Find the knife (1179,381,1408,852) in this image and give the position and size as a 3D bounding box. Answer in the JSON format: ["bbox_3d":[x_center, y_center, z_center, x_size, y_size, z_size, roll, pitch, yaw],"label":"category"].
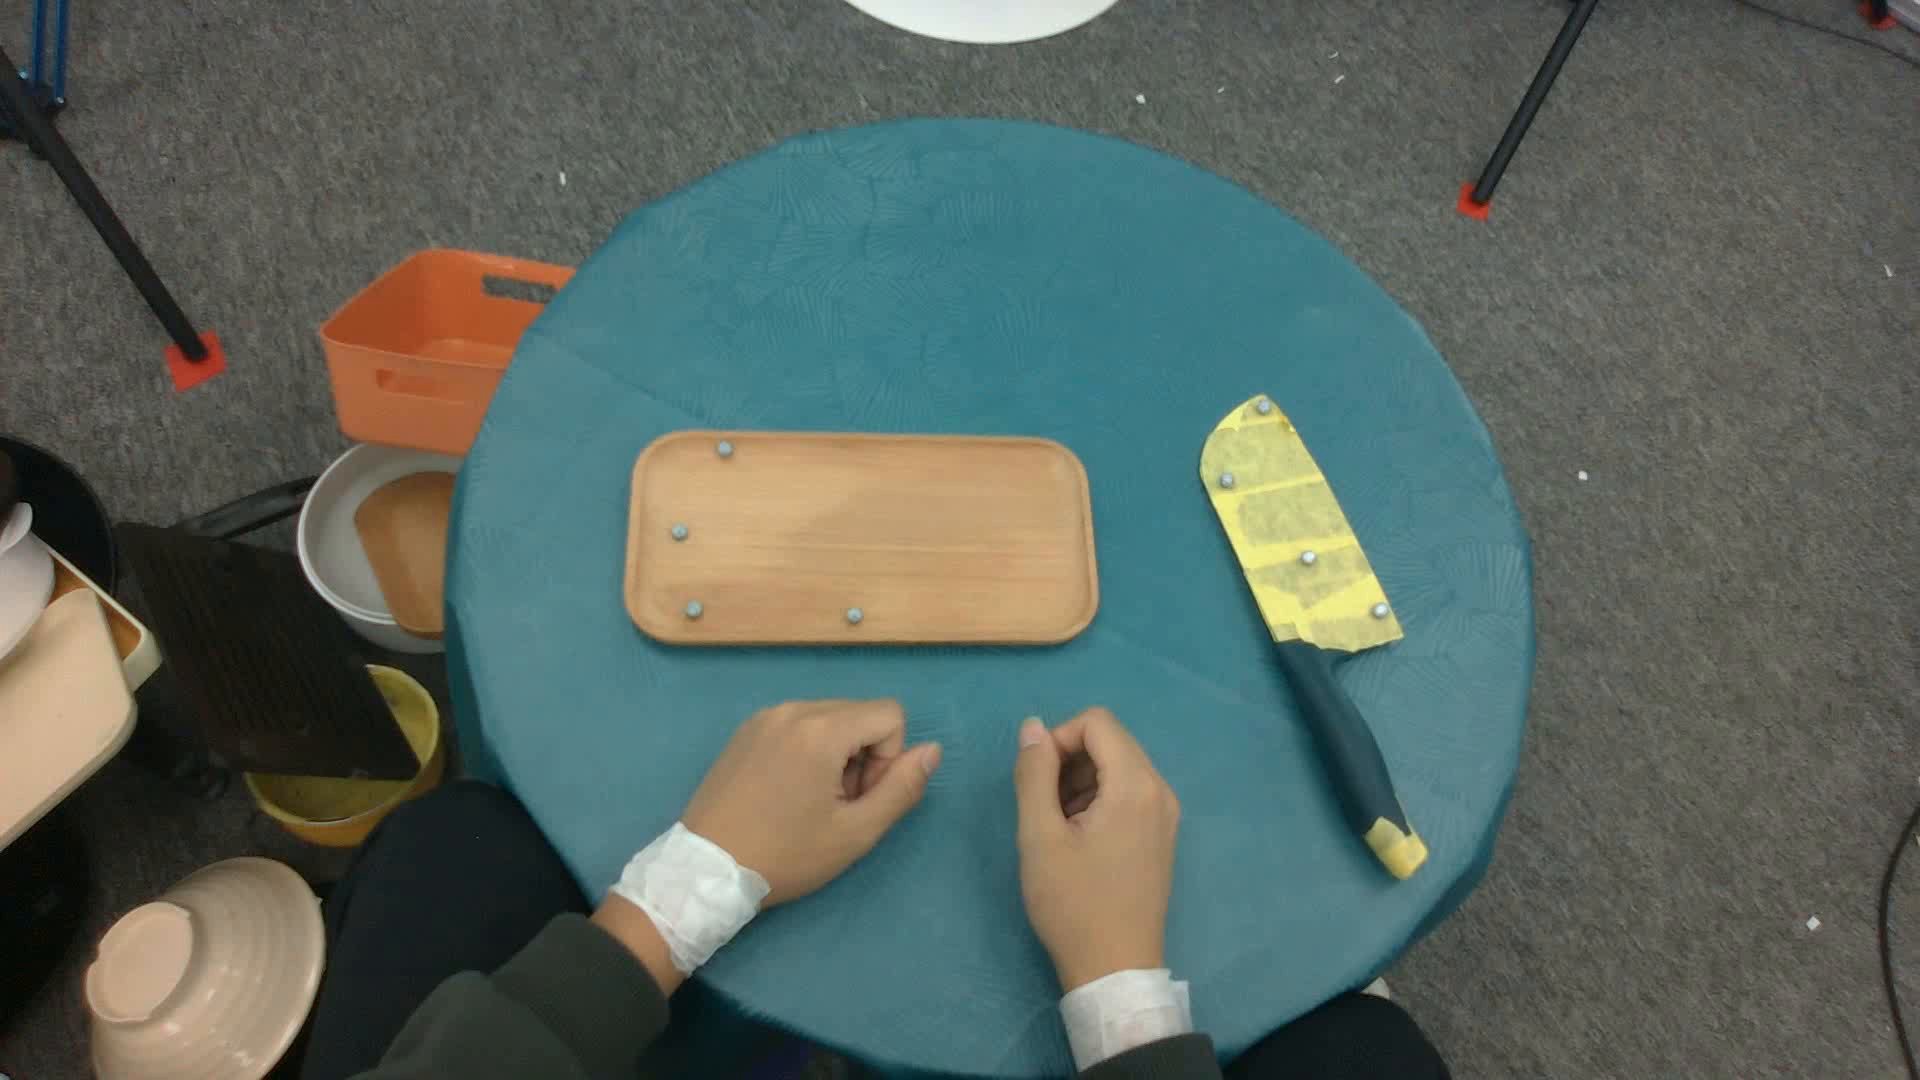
[{"bbox_3d":[0.191,0.029,0.760,0.081,0.027,0.290,-10,63,-11],"label":"knife"}]

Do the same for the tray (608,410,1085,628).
[{"bbox_3d":[-0.060,-0.013,0.746,0.251,0.023,0.131,1,65,-8],"label":"tray"}]
